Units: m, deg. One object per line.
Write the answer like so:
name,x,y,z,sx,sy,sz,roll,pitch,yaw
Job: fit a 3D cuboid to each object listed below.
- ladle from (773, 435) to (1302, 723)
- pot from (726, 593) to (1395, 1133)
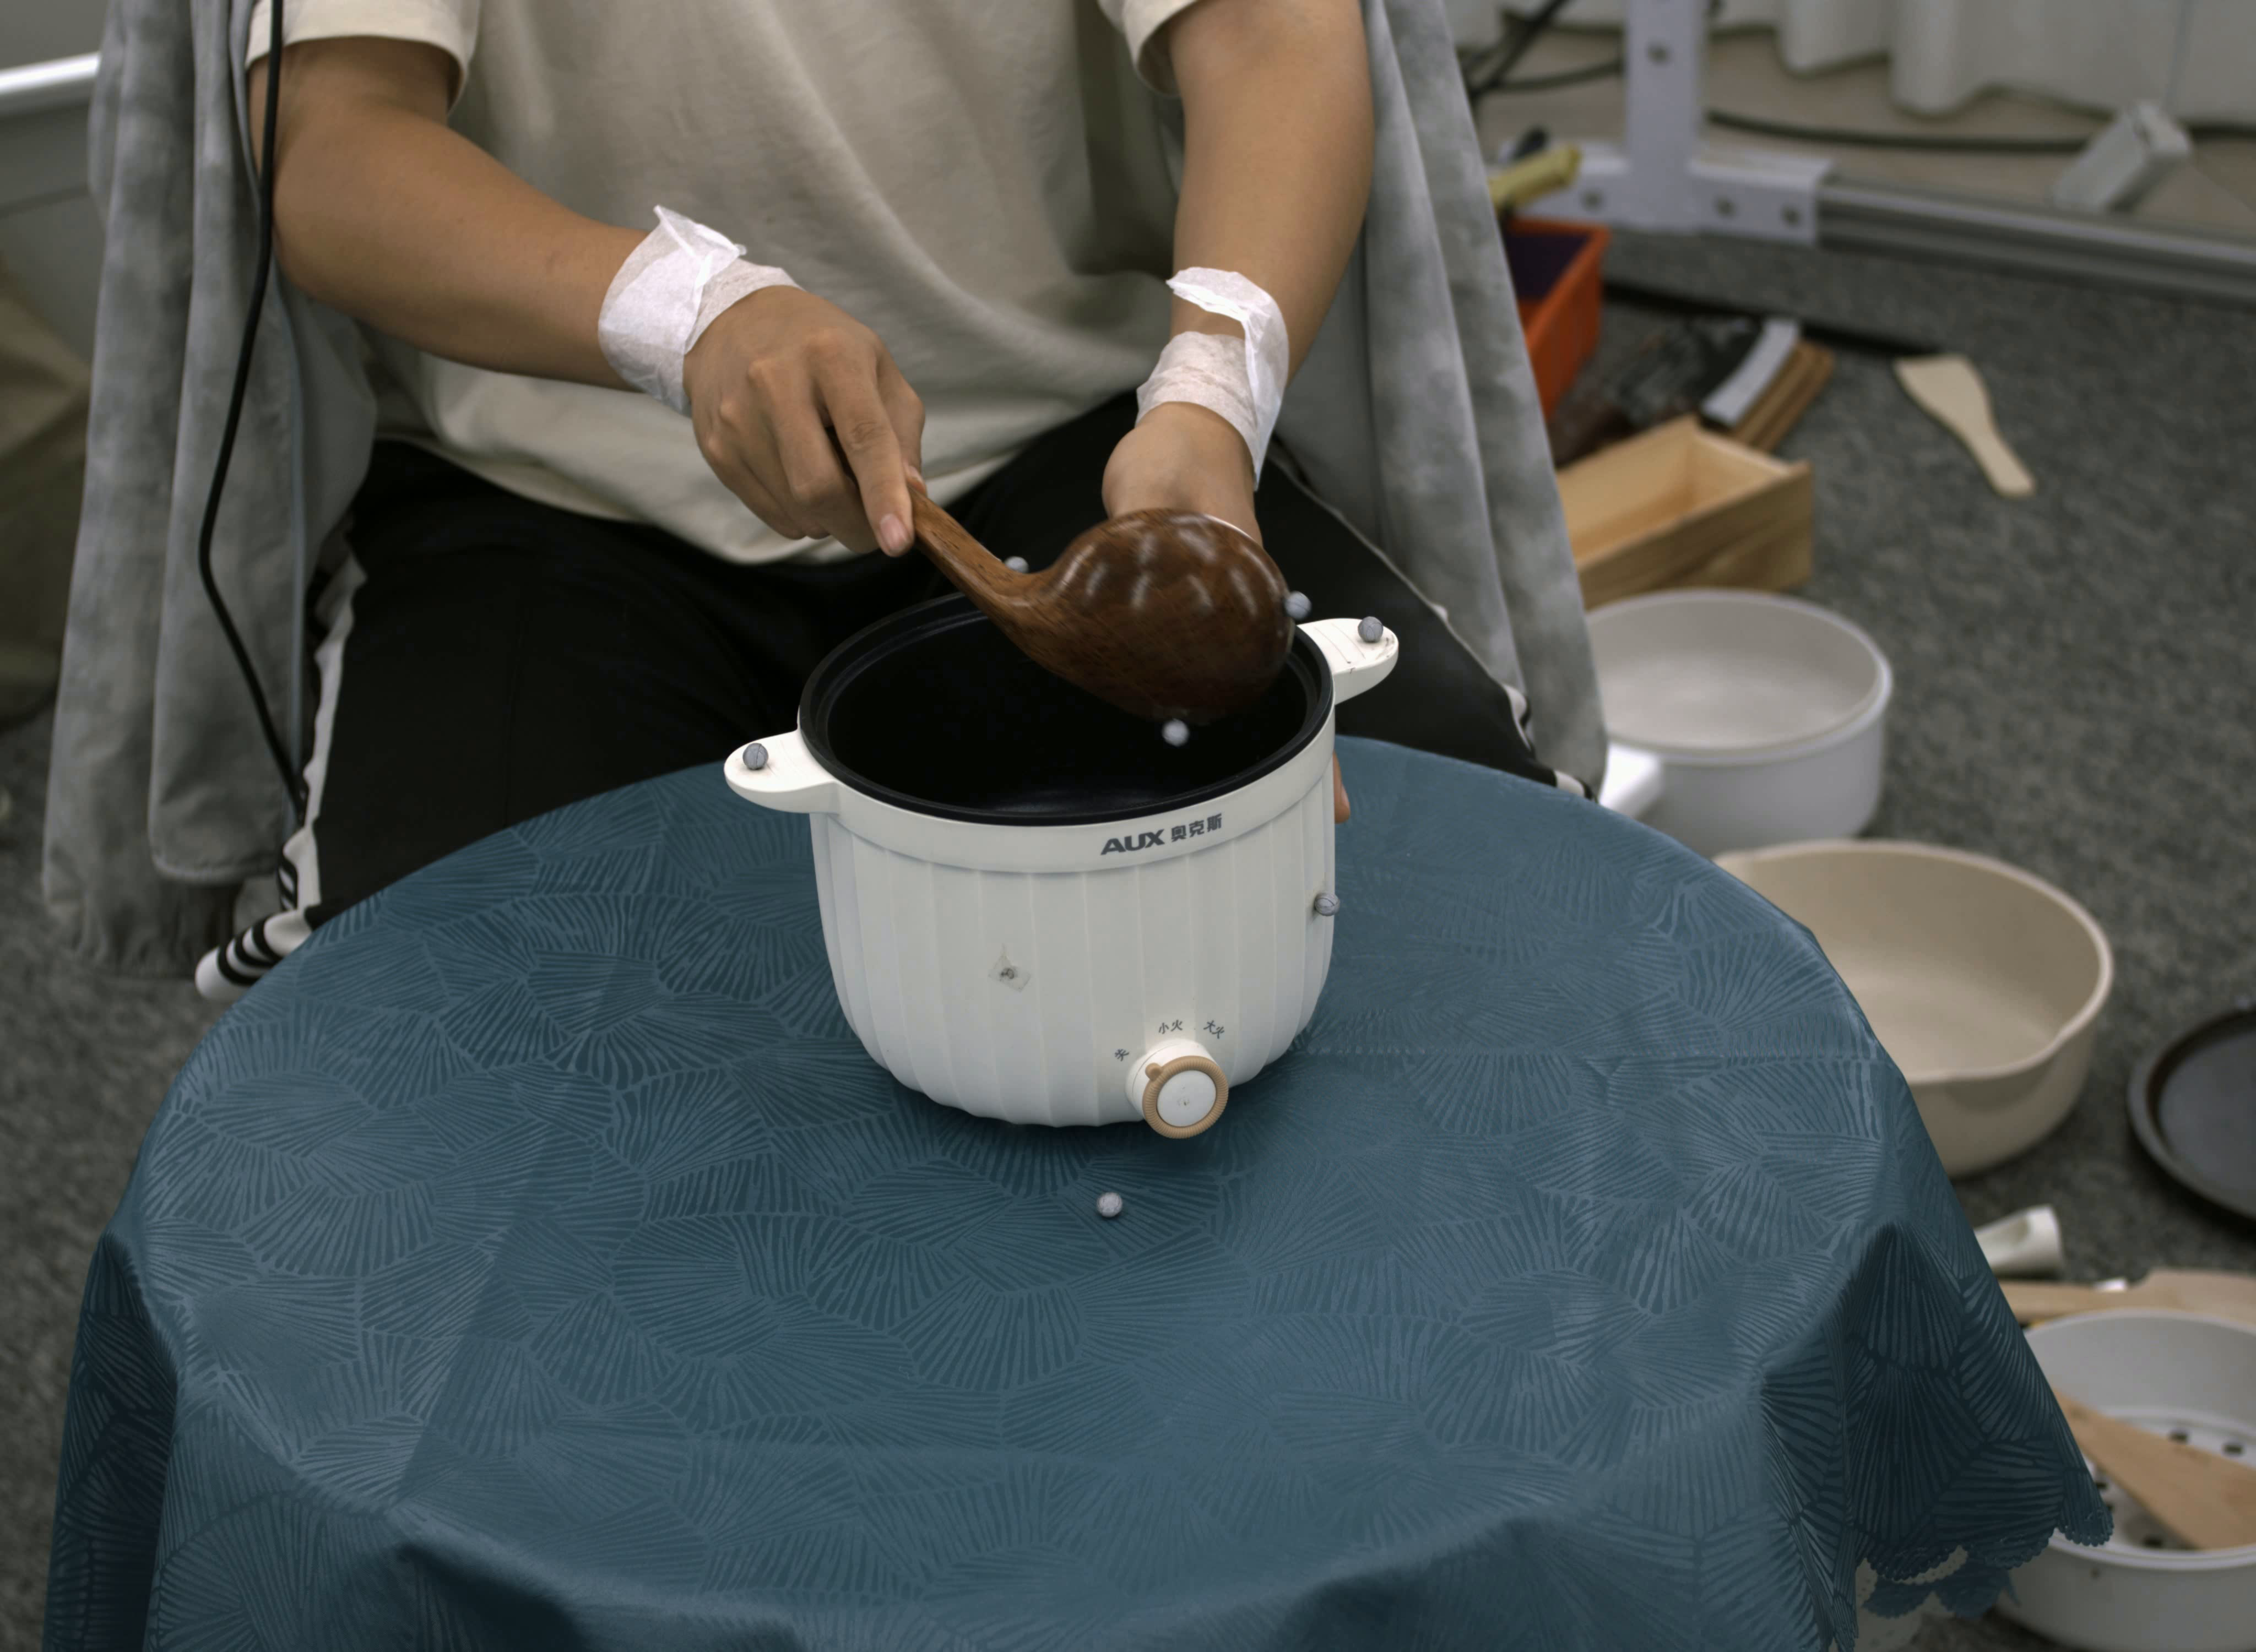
ladle,-0.033,-0.104,1.942,0.077,0.081,0.275,-25,30,-19
pot,-0.014,0.015,1.919,0.241,0.141,0.191,-14,25,-17
